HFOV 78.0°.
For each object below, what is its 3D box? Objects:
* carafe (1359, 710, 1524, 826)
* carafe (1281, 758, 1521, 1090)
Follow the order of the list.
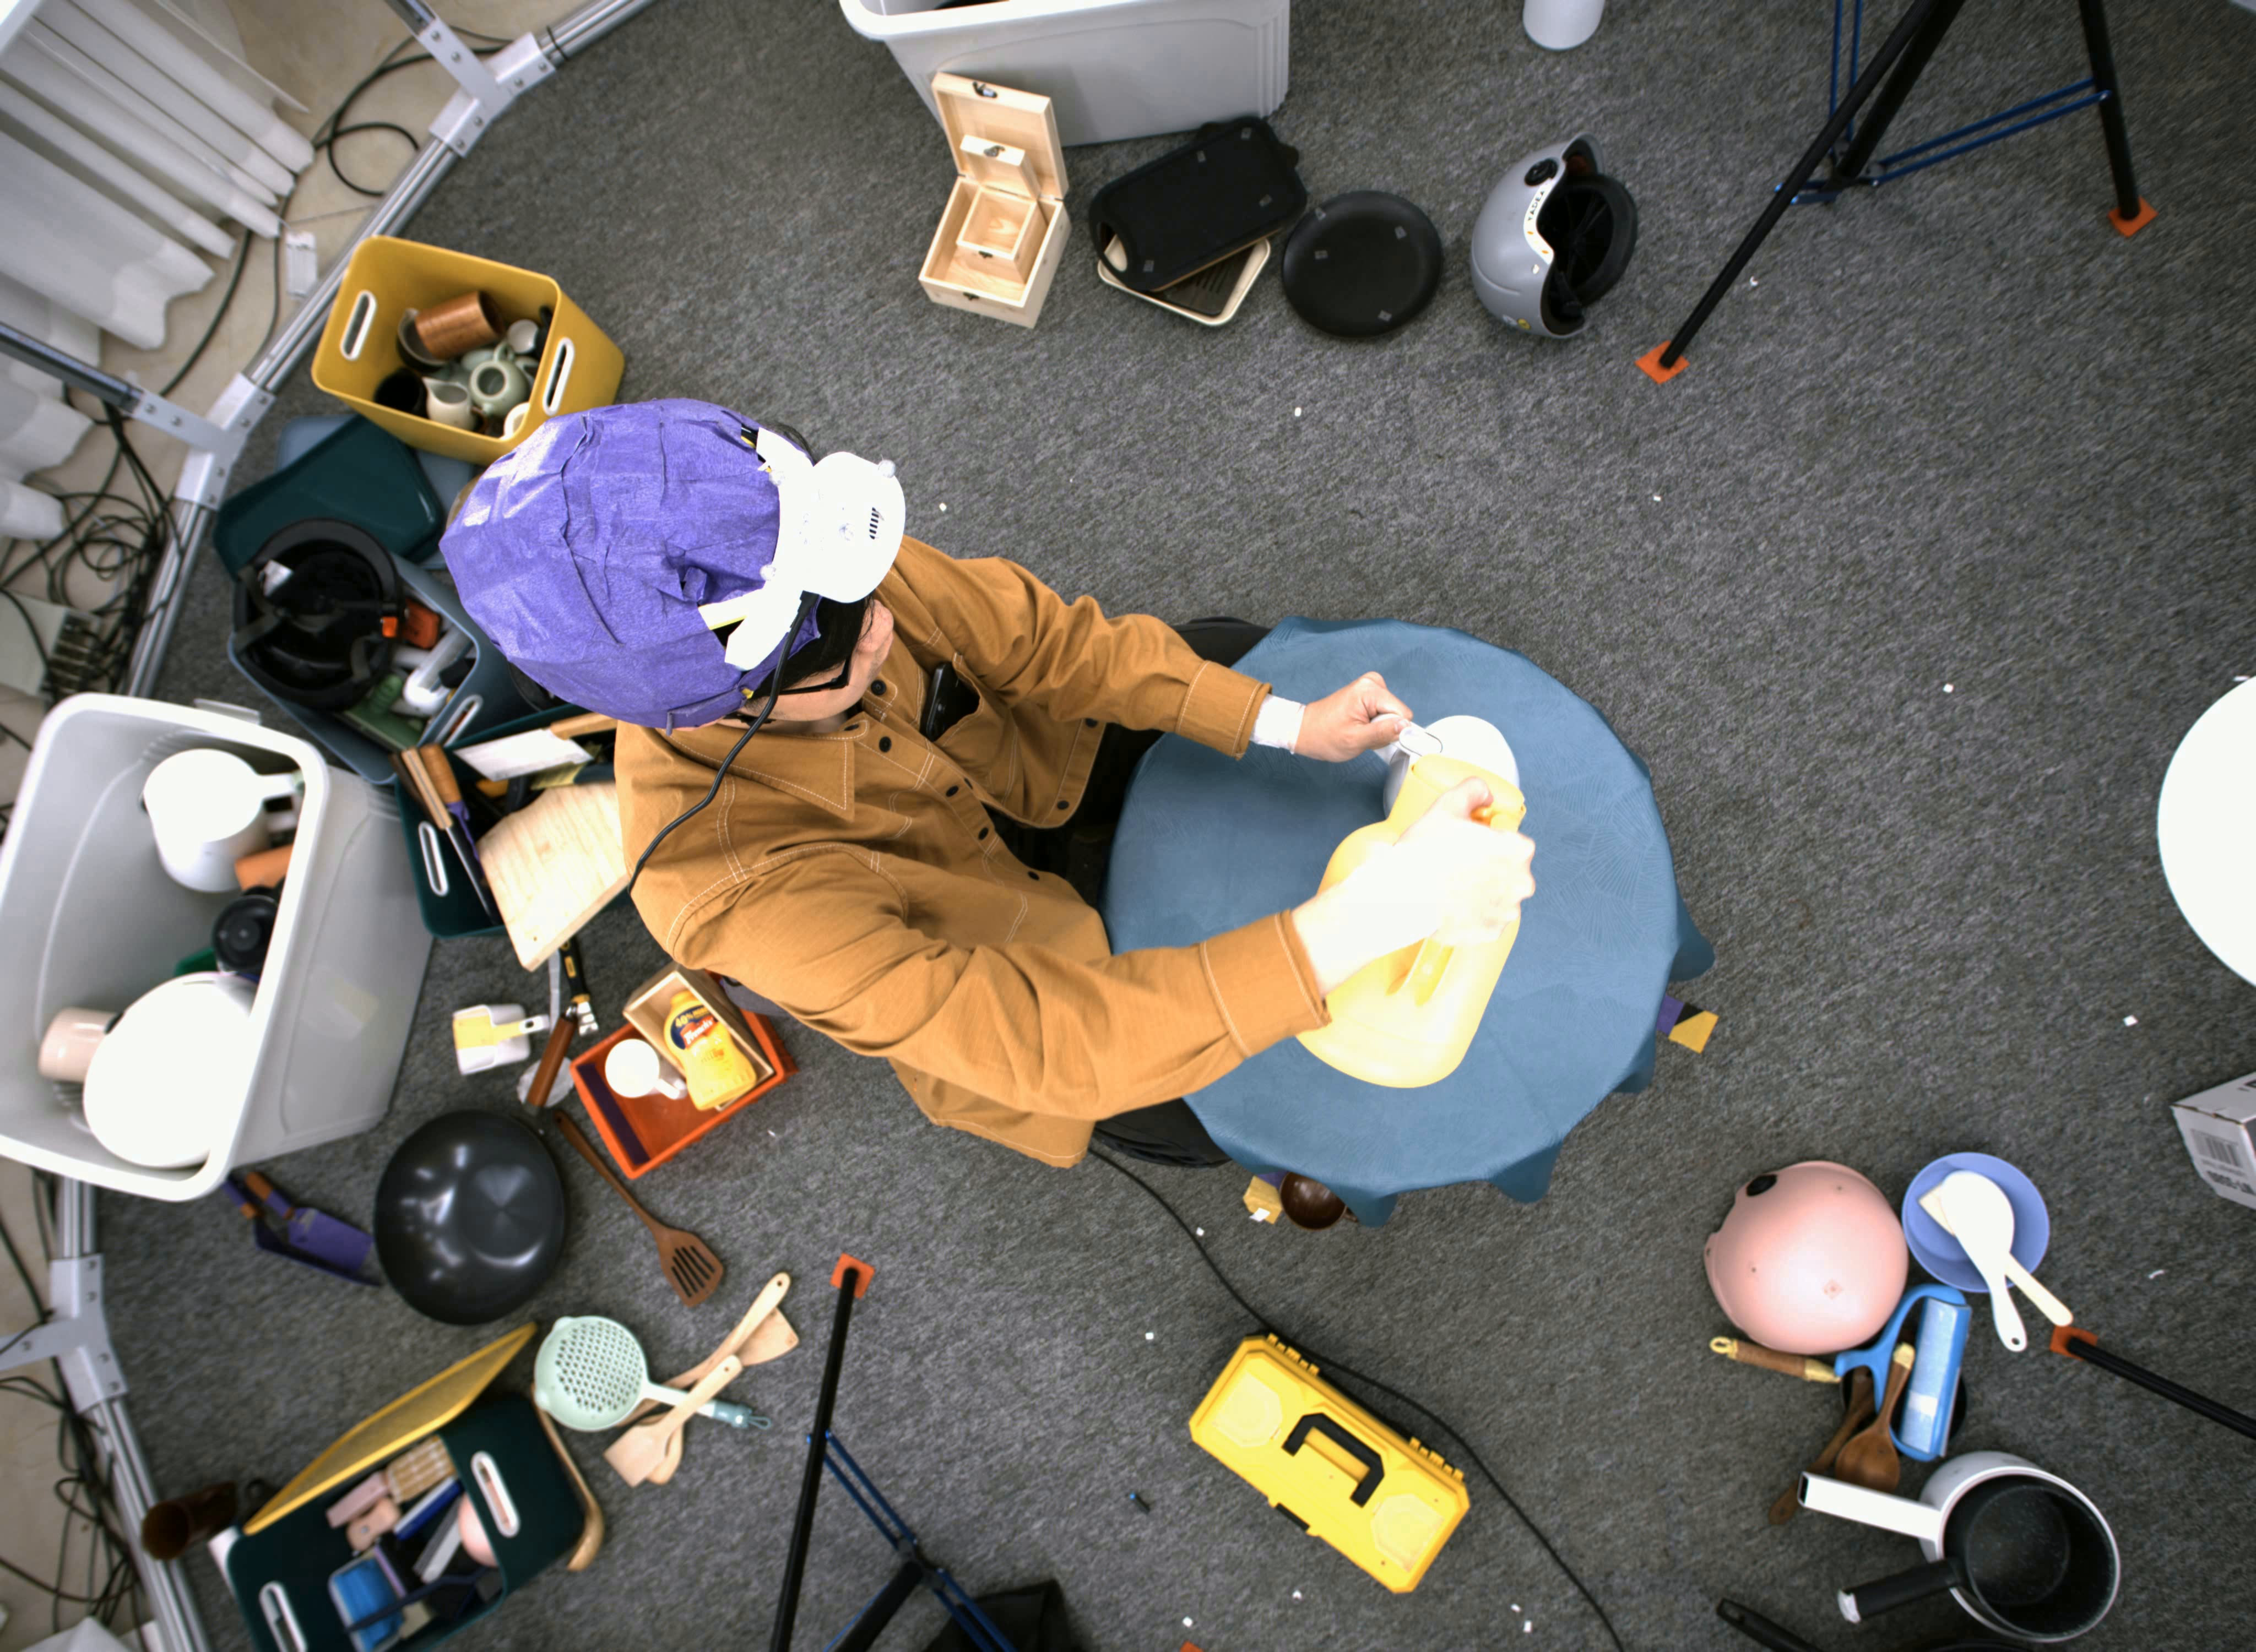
[{"bbox_3d":[0.299,-0.051,1.336,0.167,0.249,0.133,35,92,12],"label":"carafe"},{"bbox_3d":[0.228,0.080,1.108,0.163,0.198,0.265,17,113,4],"label":"carafe"}]
